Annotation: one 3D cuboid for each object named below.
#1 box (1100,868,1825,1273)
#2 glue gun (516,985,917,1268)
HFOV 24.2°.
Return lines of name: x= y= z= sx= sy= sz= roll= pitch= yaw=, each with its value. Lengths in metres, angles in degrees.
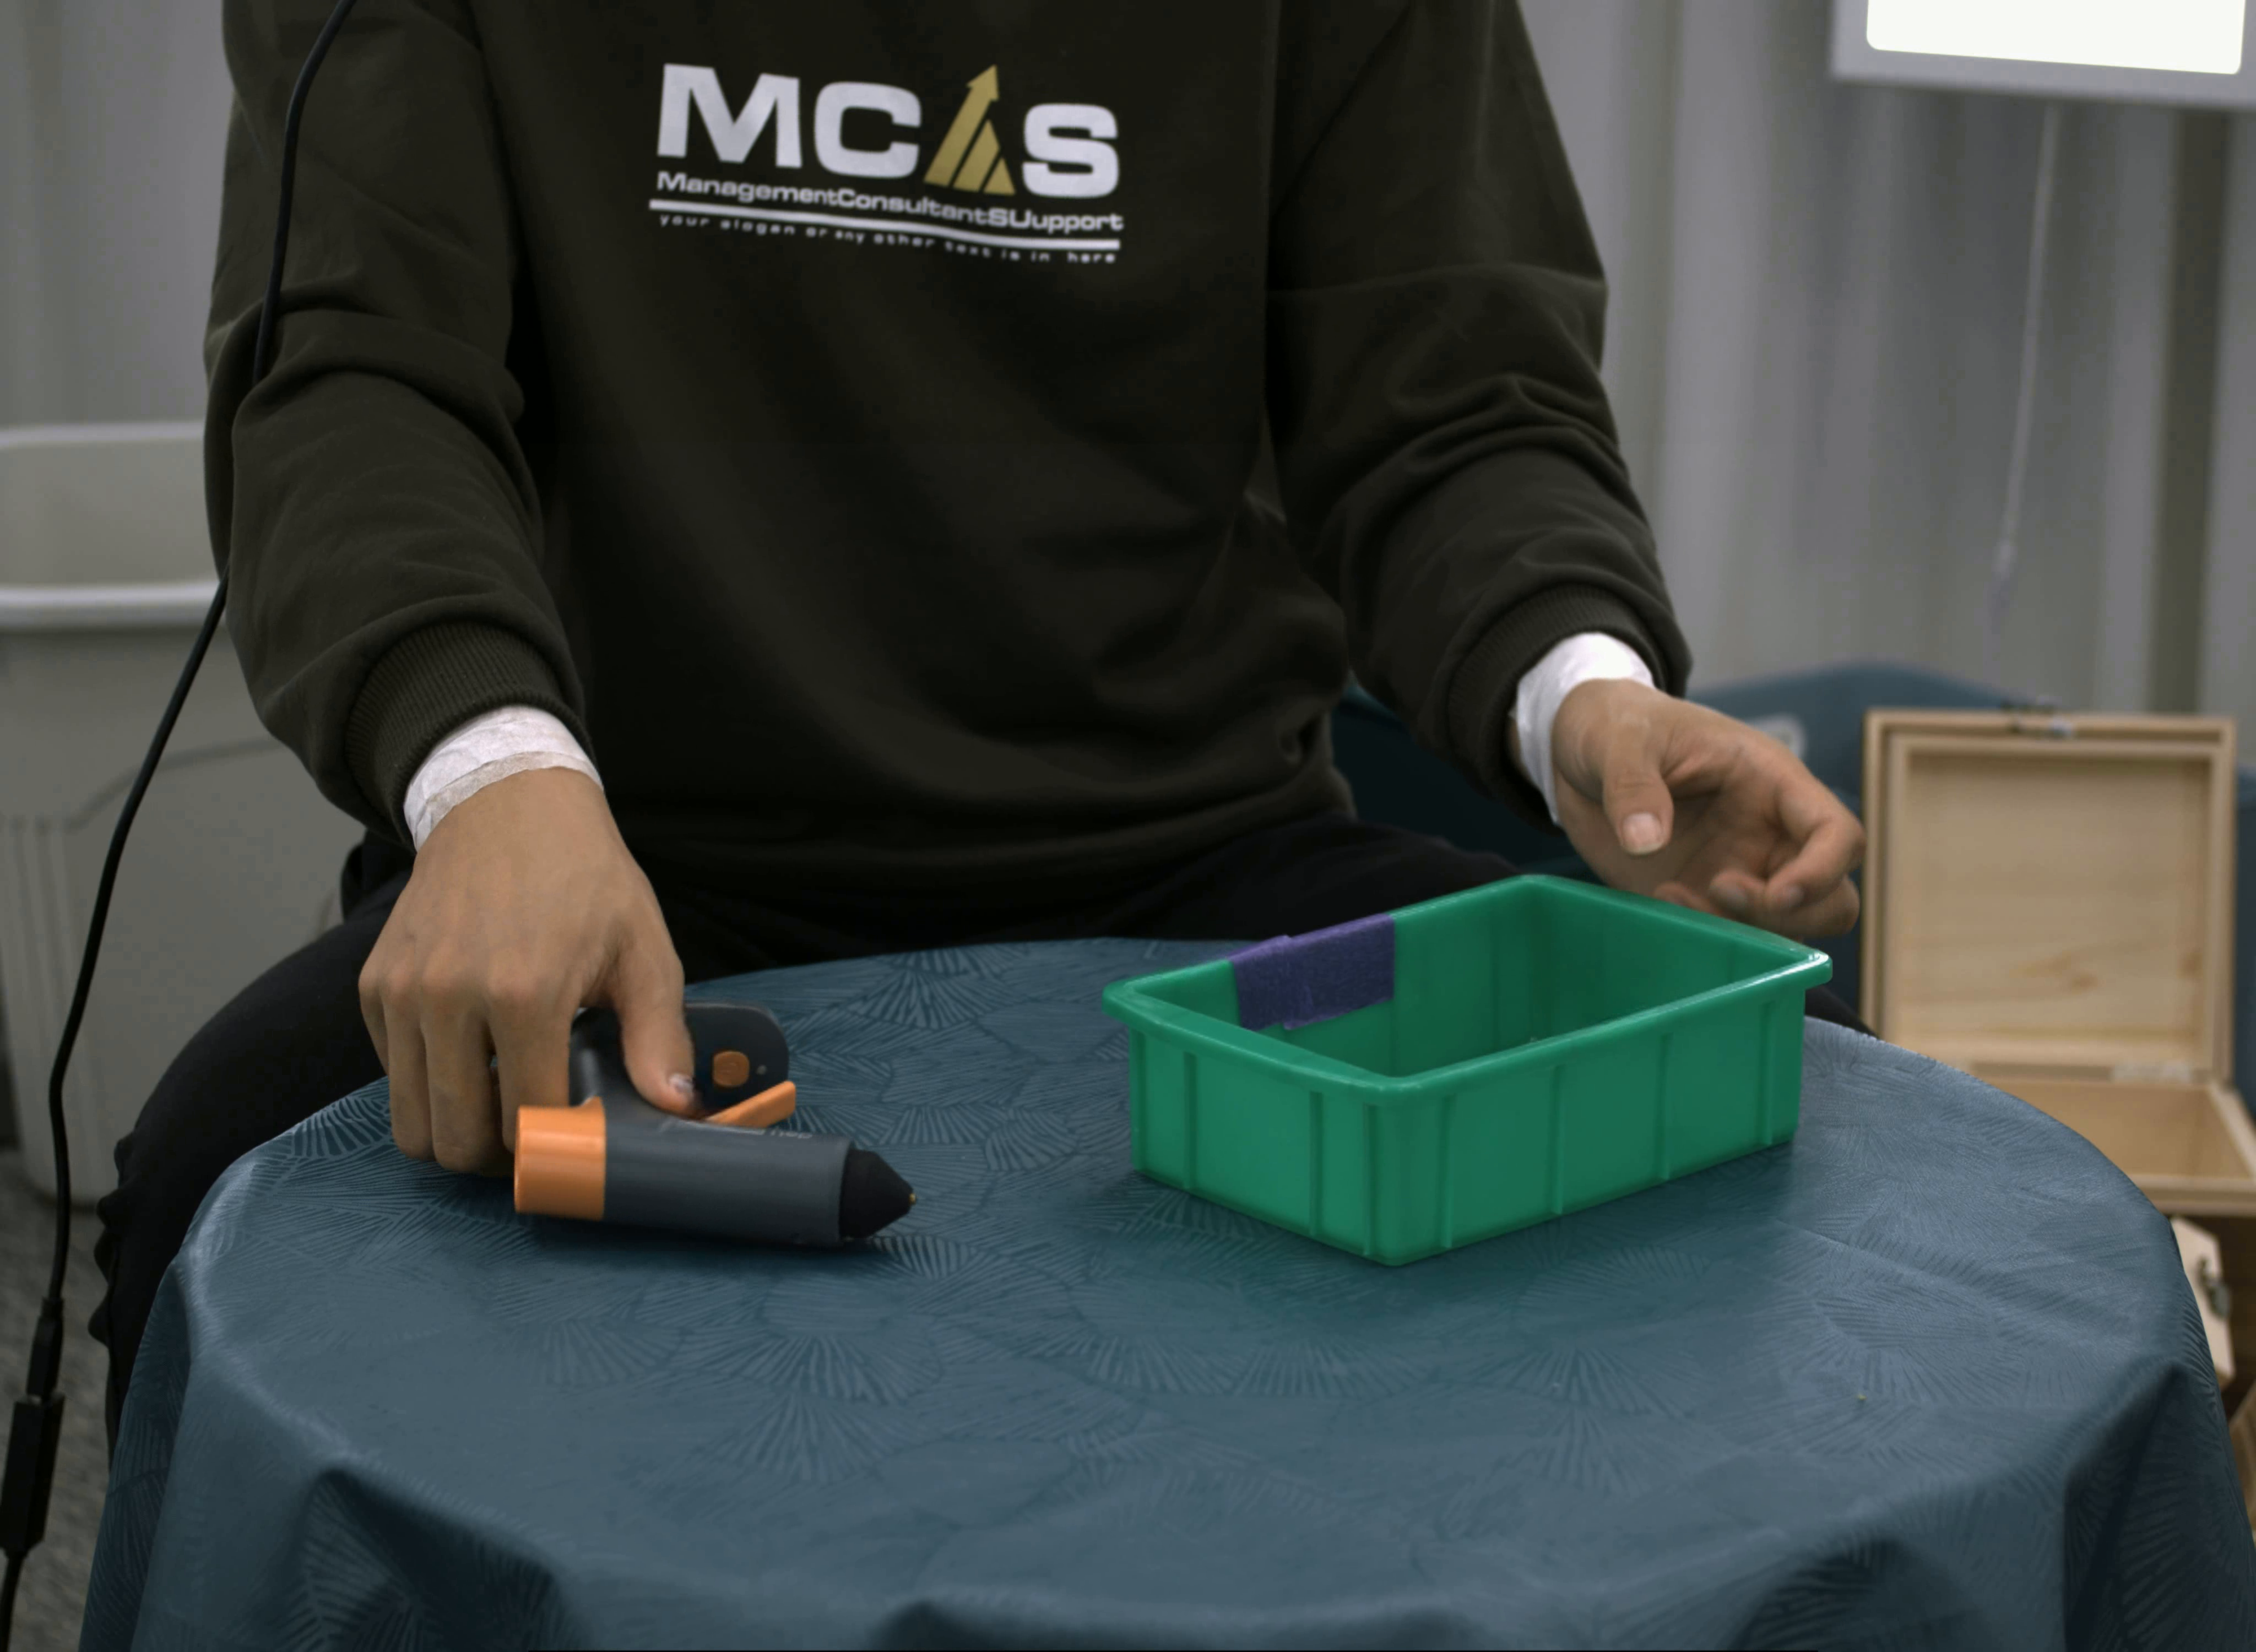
box: x=0.106 y=0.075 z=1.652 sx=0.211 sy=0.066 sz=0.137 roll=-16 pitch=22 yaw=-41
glue gun: x=-0.130 y=0.094 z=1.620 sx=0.118 sy=0.041 sz=0.138 roll=11 pitch=15 yaw=-14
